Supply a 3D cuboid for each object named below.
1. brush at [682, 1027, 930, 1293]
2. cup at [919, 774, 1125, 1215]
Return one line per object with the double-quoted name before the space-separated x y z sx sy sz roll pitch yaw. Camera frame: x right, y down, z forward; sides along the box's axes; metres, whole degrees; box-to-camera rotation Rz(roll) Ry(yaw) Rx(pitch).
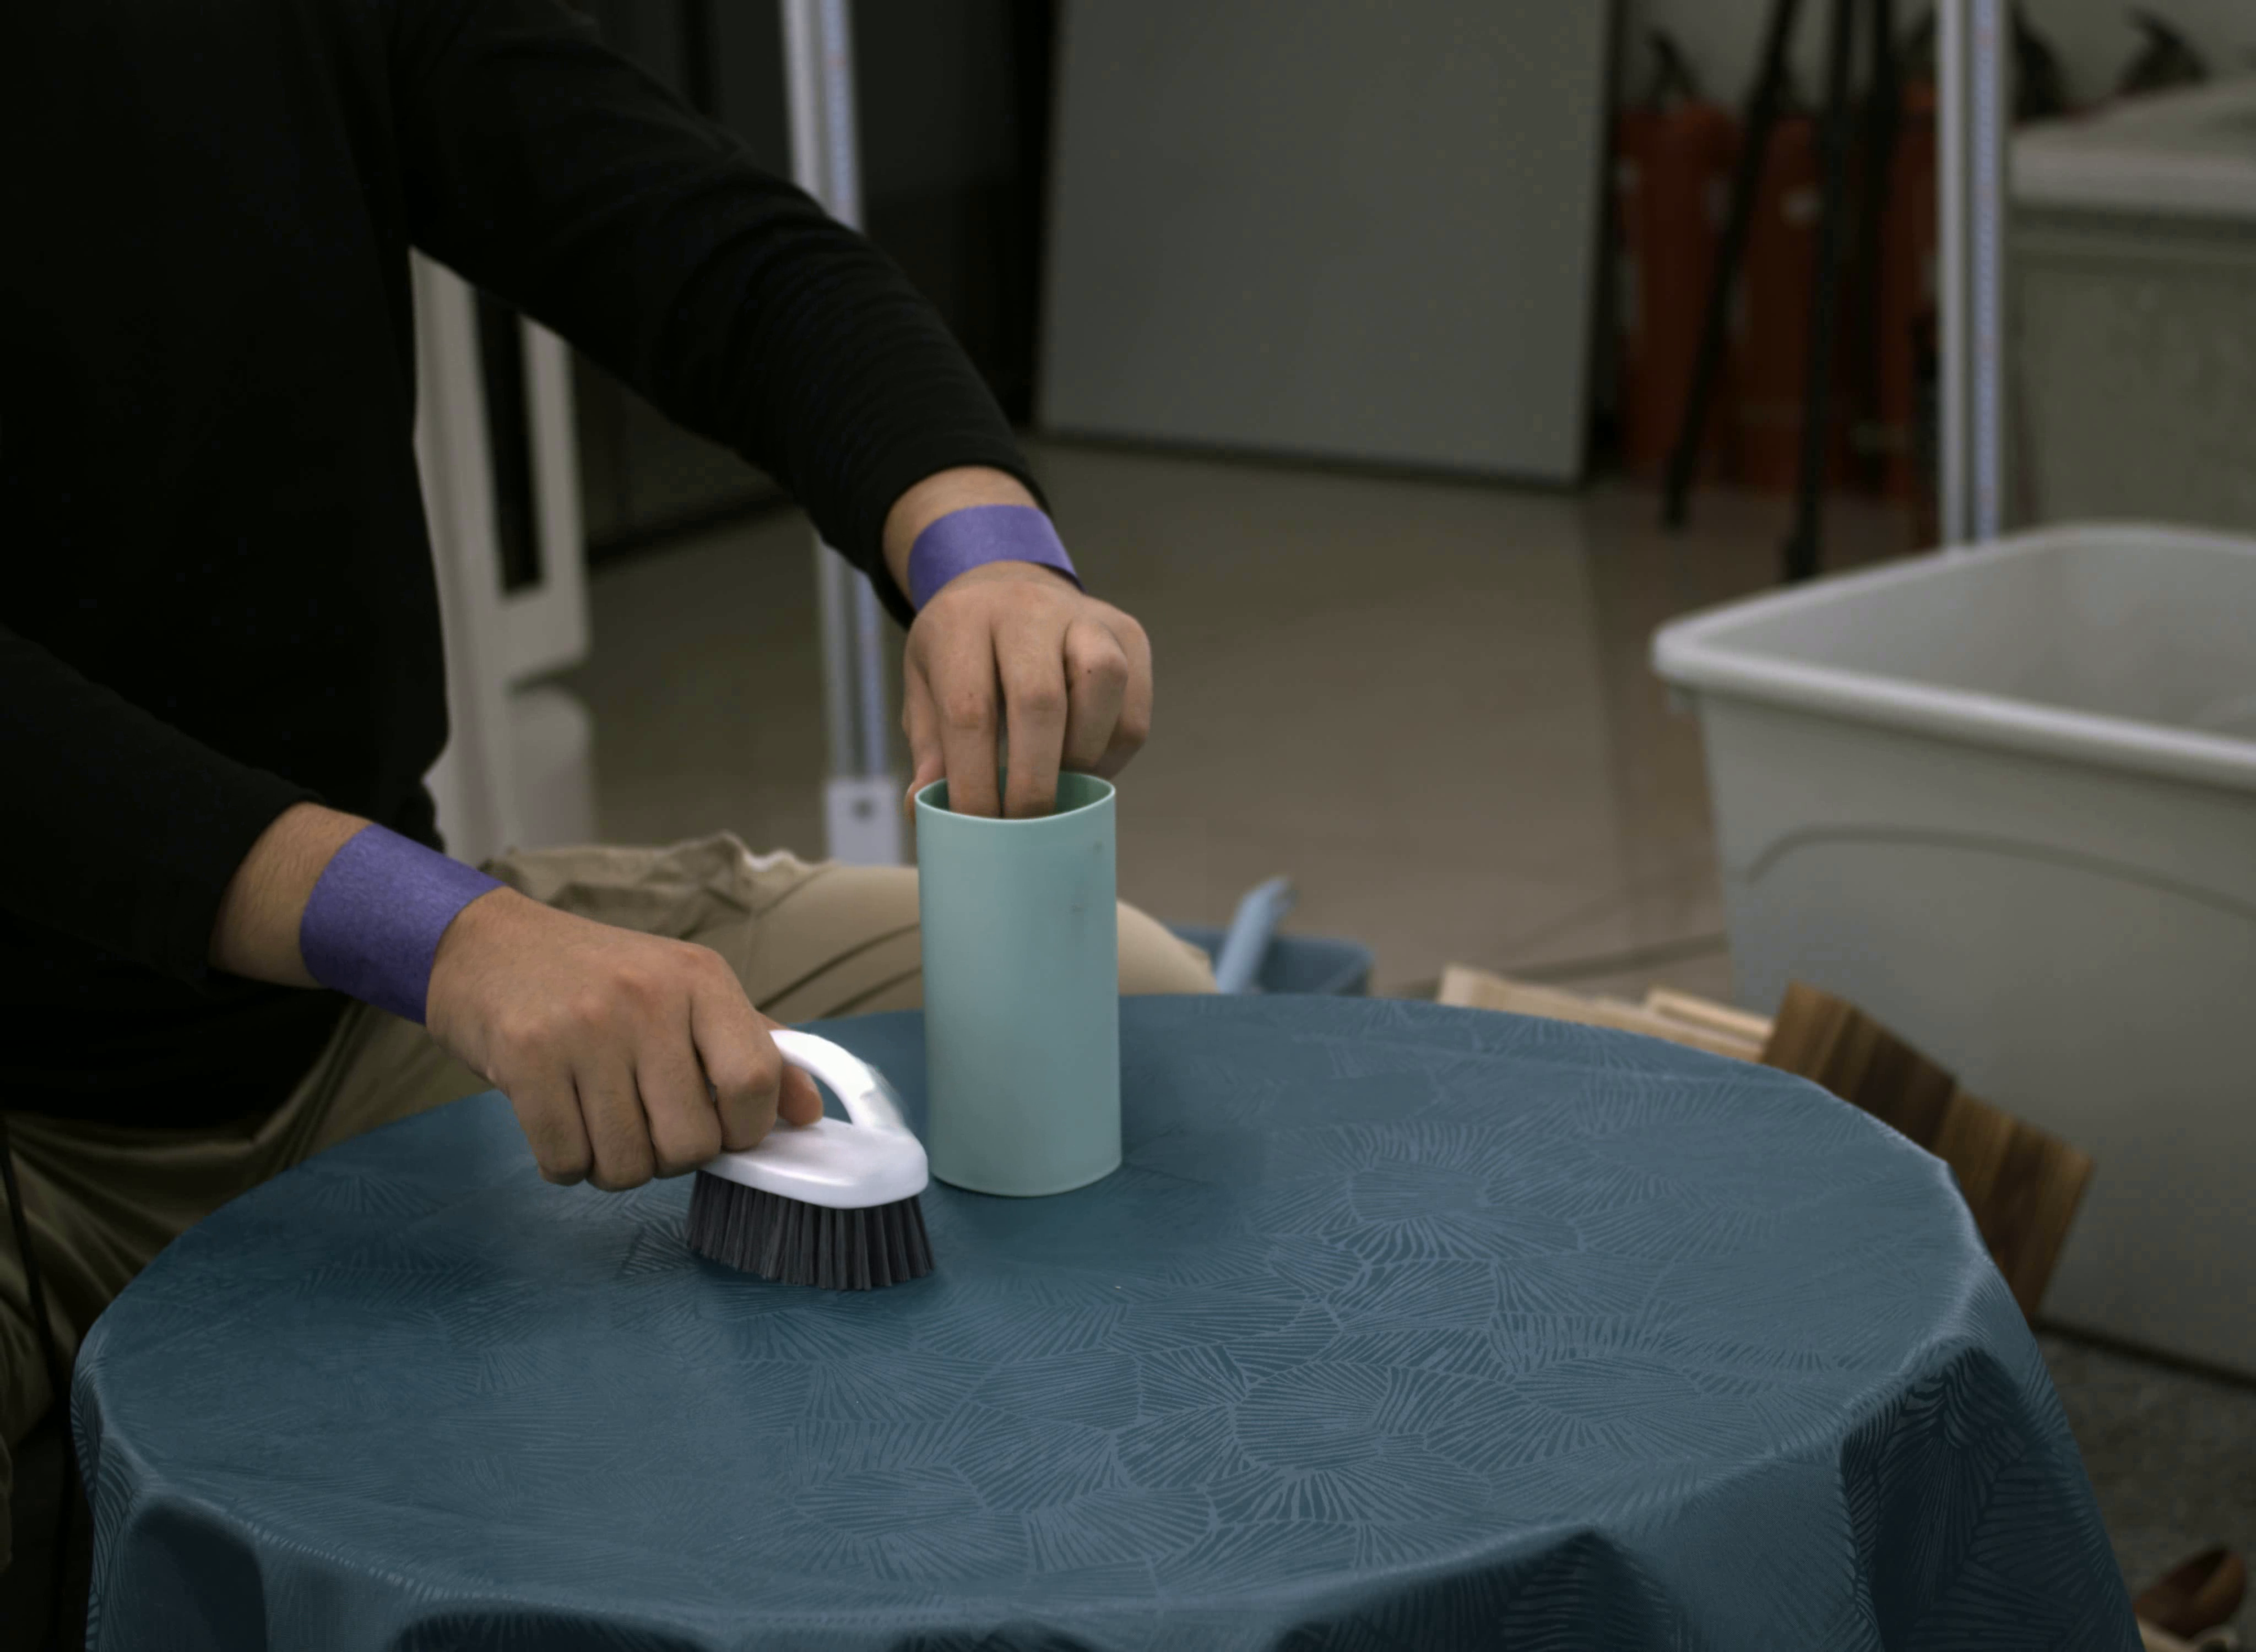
"brush" -0.104 0.102 1.721 0.049 0.073 0.100 -12 16 -38
"cup" -0.035 0.055 1.784 0.066 0.134 0.067 -2 15 0
